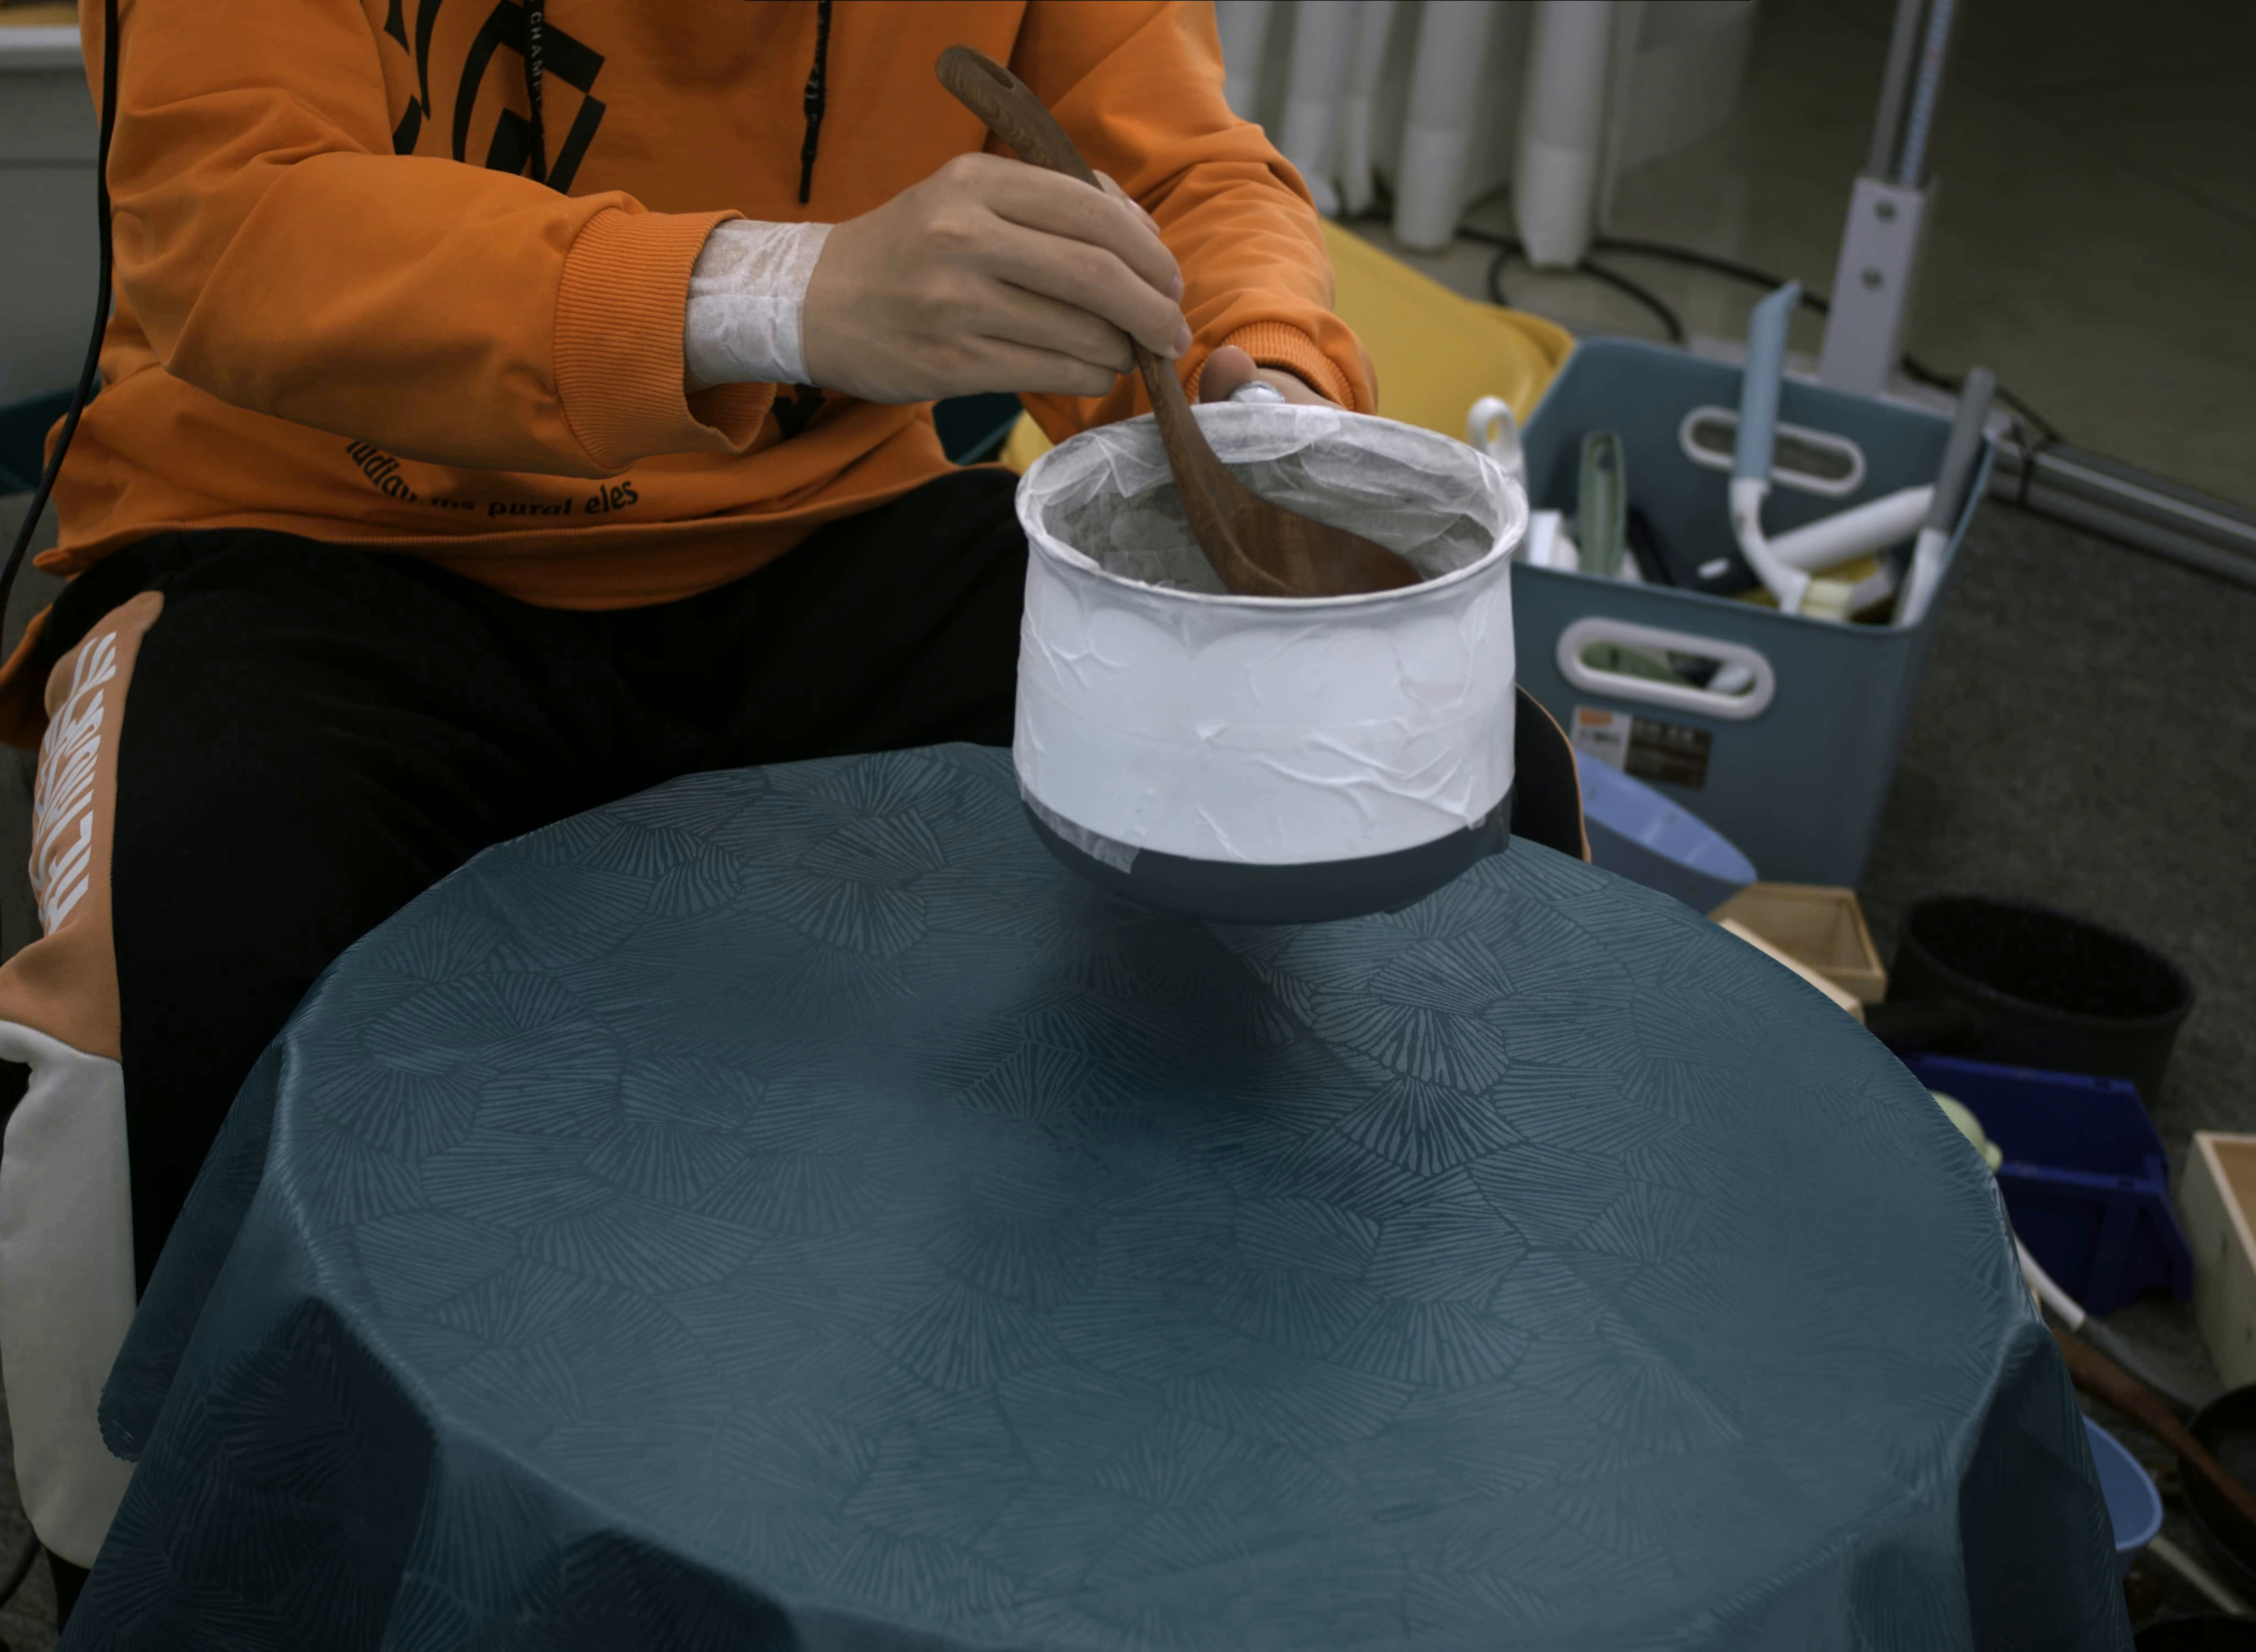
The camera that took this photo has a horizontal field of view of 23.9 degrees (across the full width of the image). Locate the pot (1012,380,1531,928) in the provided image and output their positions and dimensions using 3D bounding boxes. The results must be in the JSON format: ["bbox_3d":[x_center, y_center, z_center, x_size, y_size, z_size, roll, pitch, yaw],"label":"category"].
[{"bbox_3d":[0.046,-0.067,1.875,0.178,0.136,0.235,0,26,-3],"label":"pot"}]

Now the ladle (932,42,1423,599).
[{"bbox_3d":[0.018,-0.172,1.871,0.065,0.260,0.076,-28,1,26],"label":"ladle"}]
